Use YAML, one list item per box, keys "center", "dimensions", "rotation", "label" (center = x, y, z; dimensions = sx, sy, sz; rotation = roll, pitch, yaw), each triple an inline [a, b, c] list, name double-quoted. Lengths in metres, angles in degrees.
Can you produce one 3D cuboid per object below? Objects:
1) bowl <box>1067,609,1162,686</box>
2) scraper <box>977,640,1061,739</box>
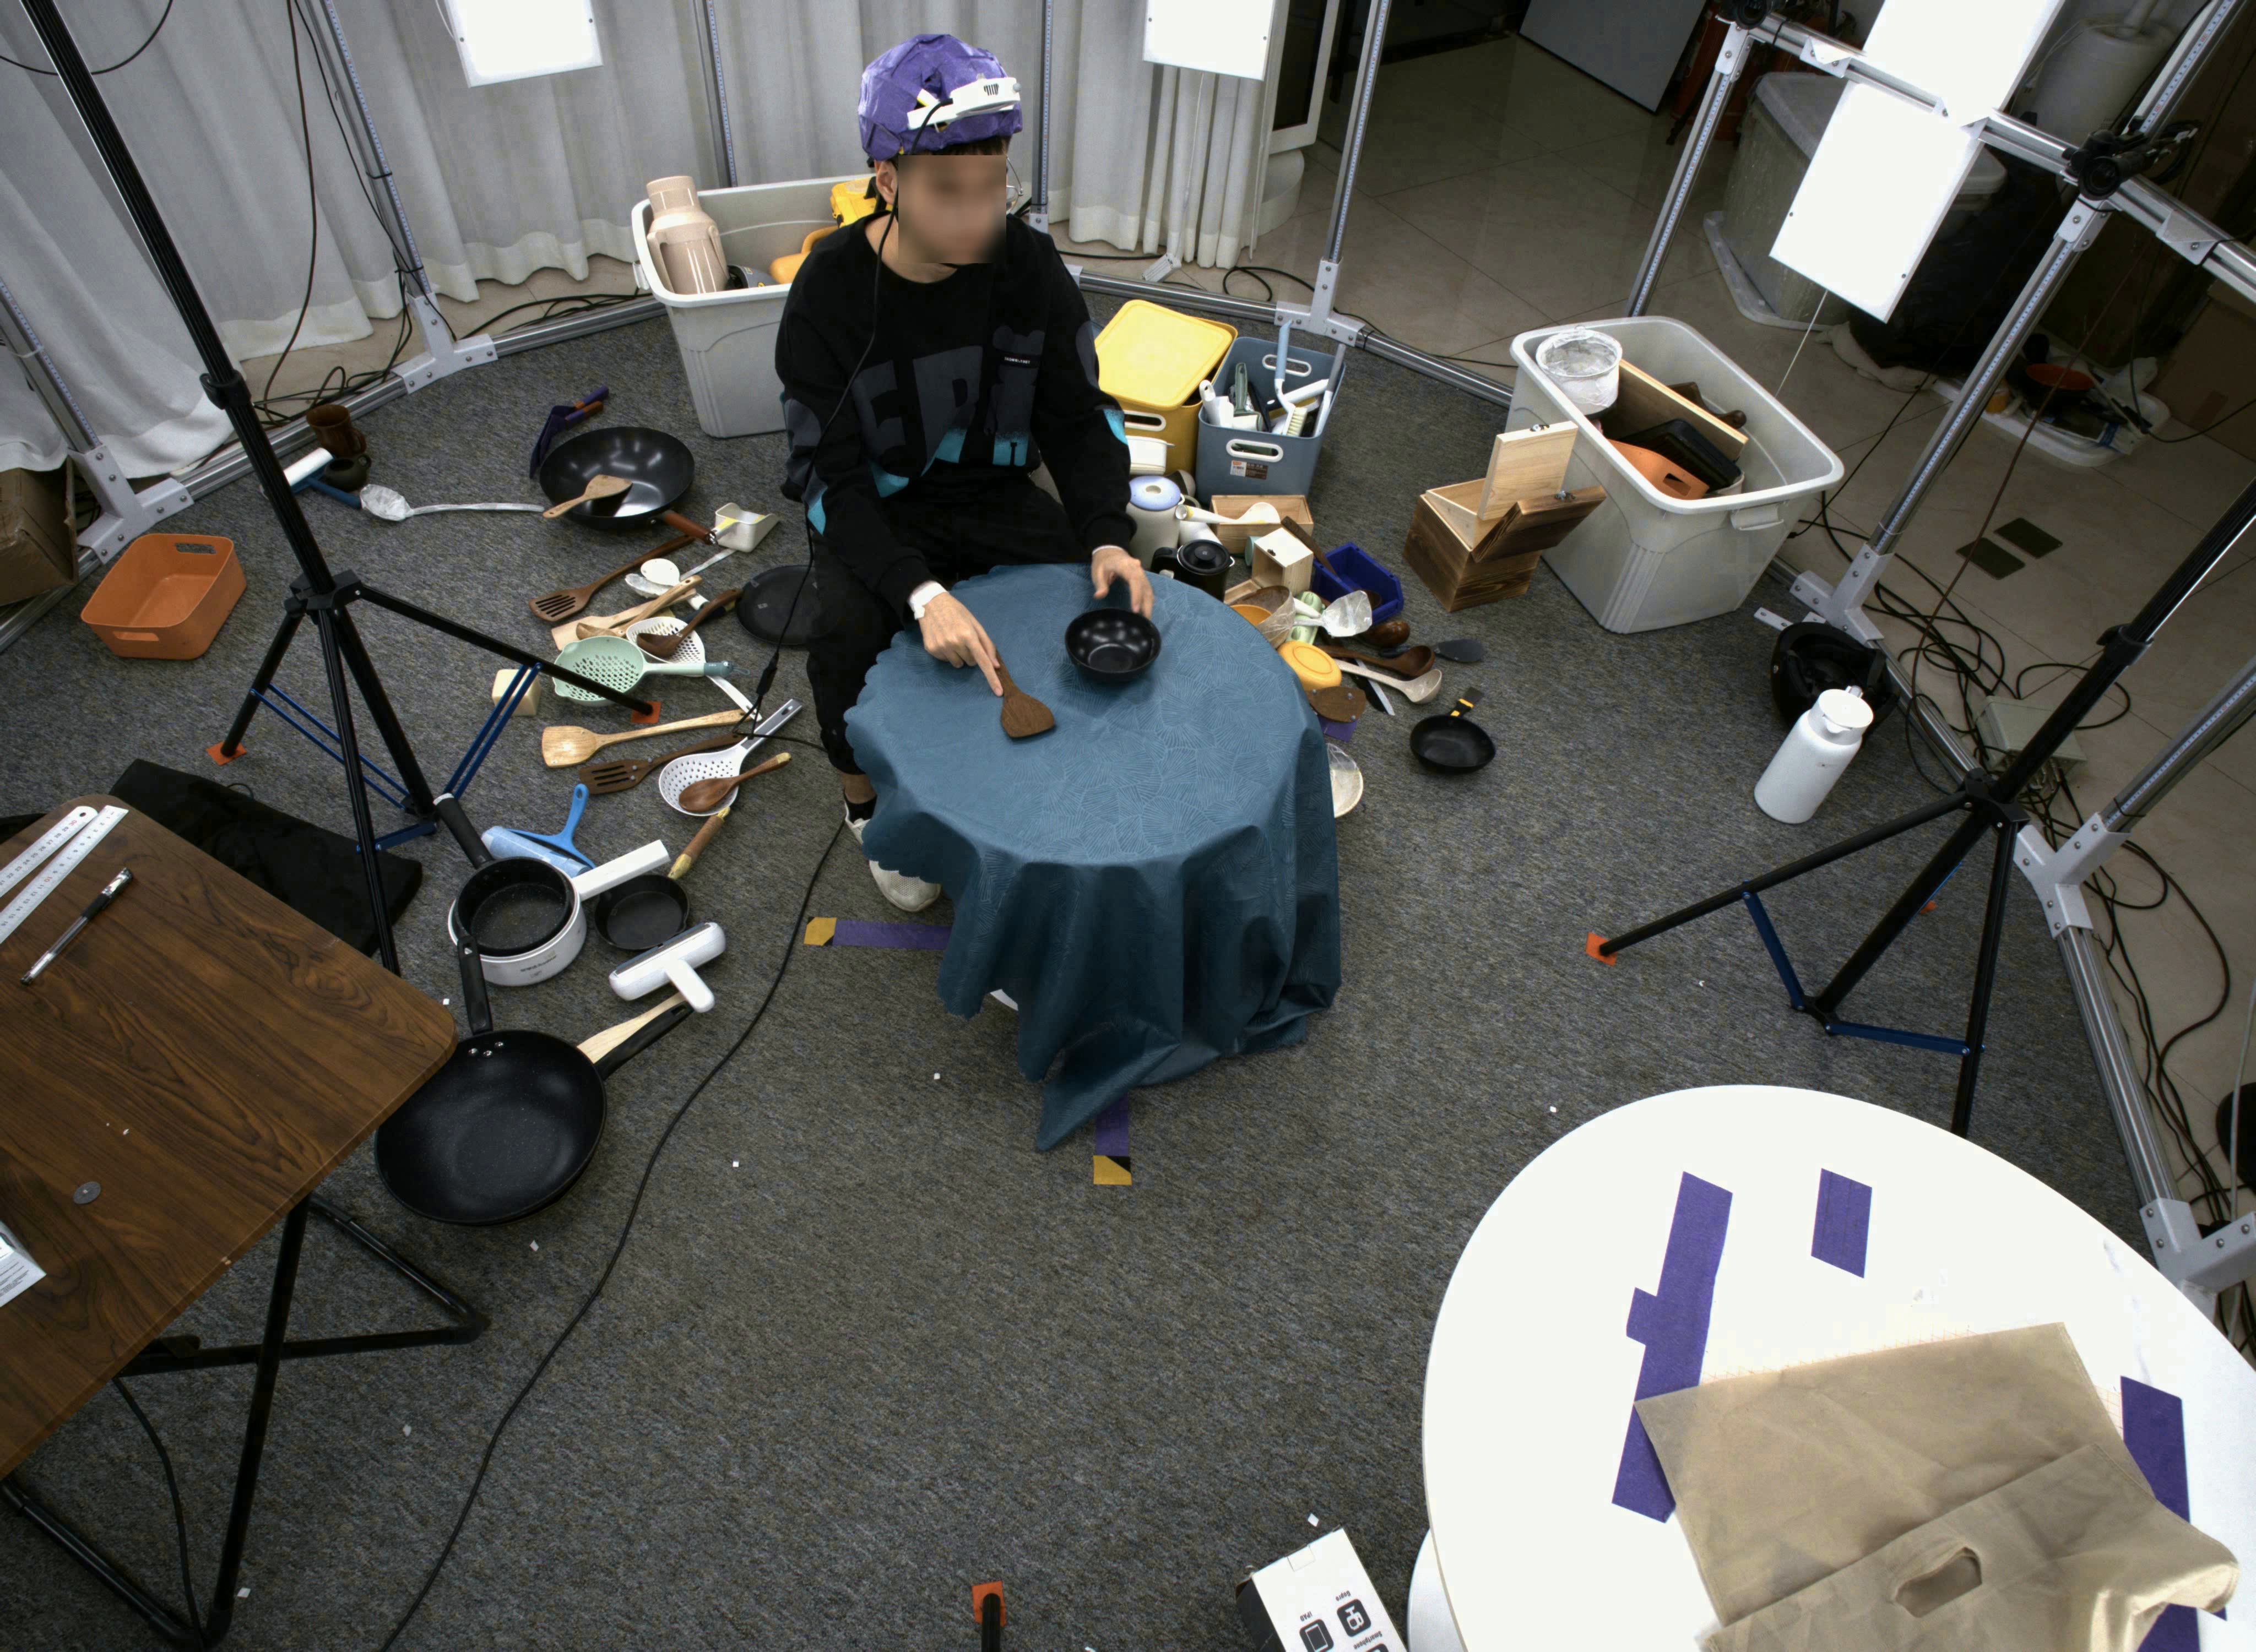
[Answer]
- center: [-0.020, -0.251, 1.871]
  dimensions: [0.140, 0.048, 0.143]
  rotation: [0, 51, -1]
  label: "bowl"
- center: [-0.168, -0.199, 1.841]
  dimensions: [0.076, 0.010, 0.216]
  rotation: [-17, 51, -19]
  label: "scraper"
